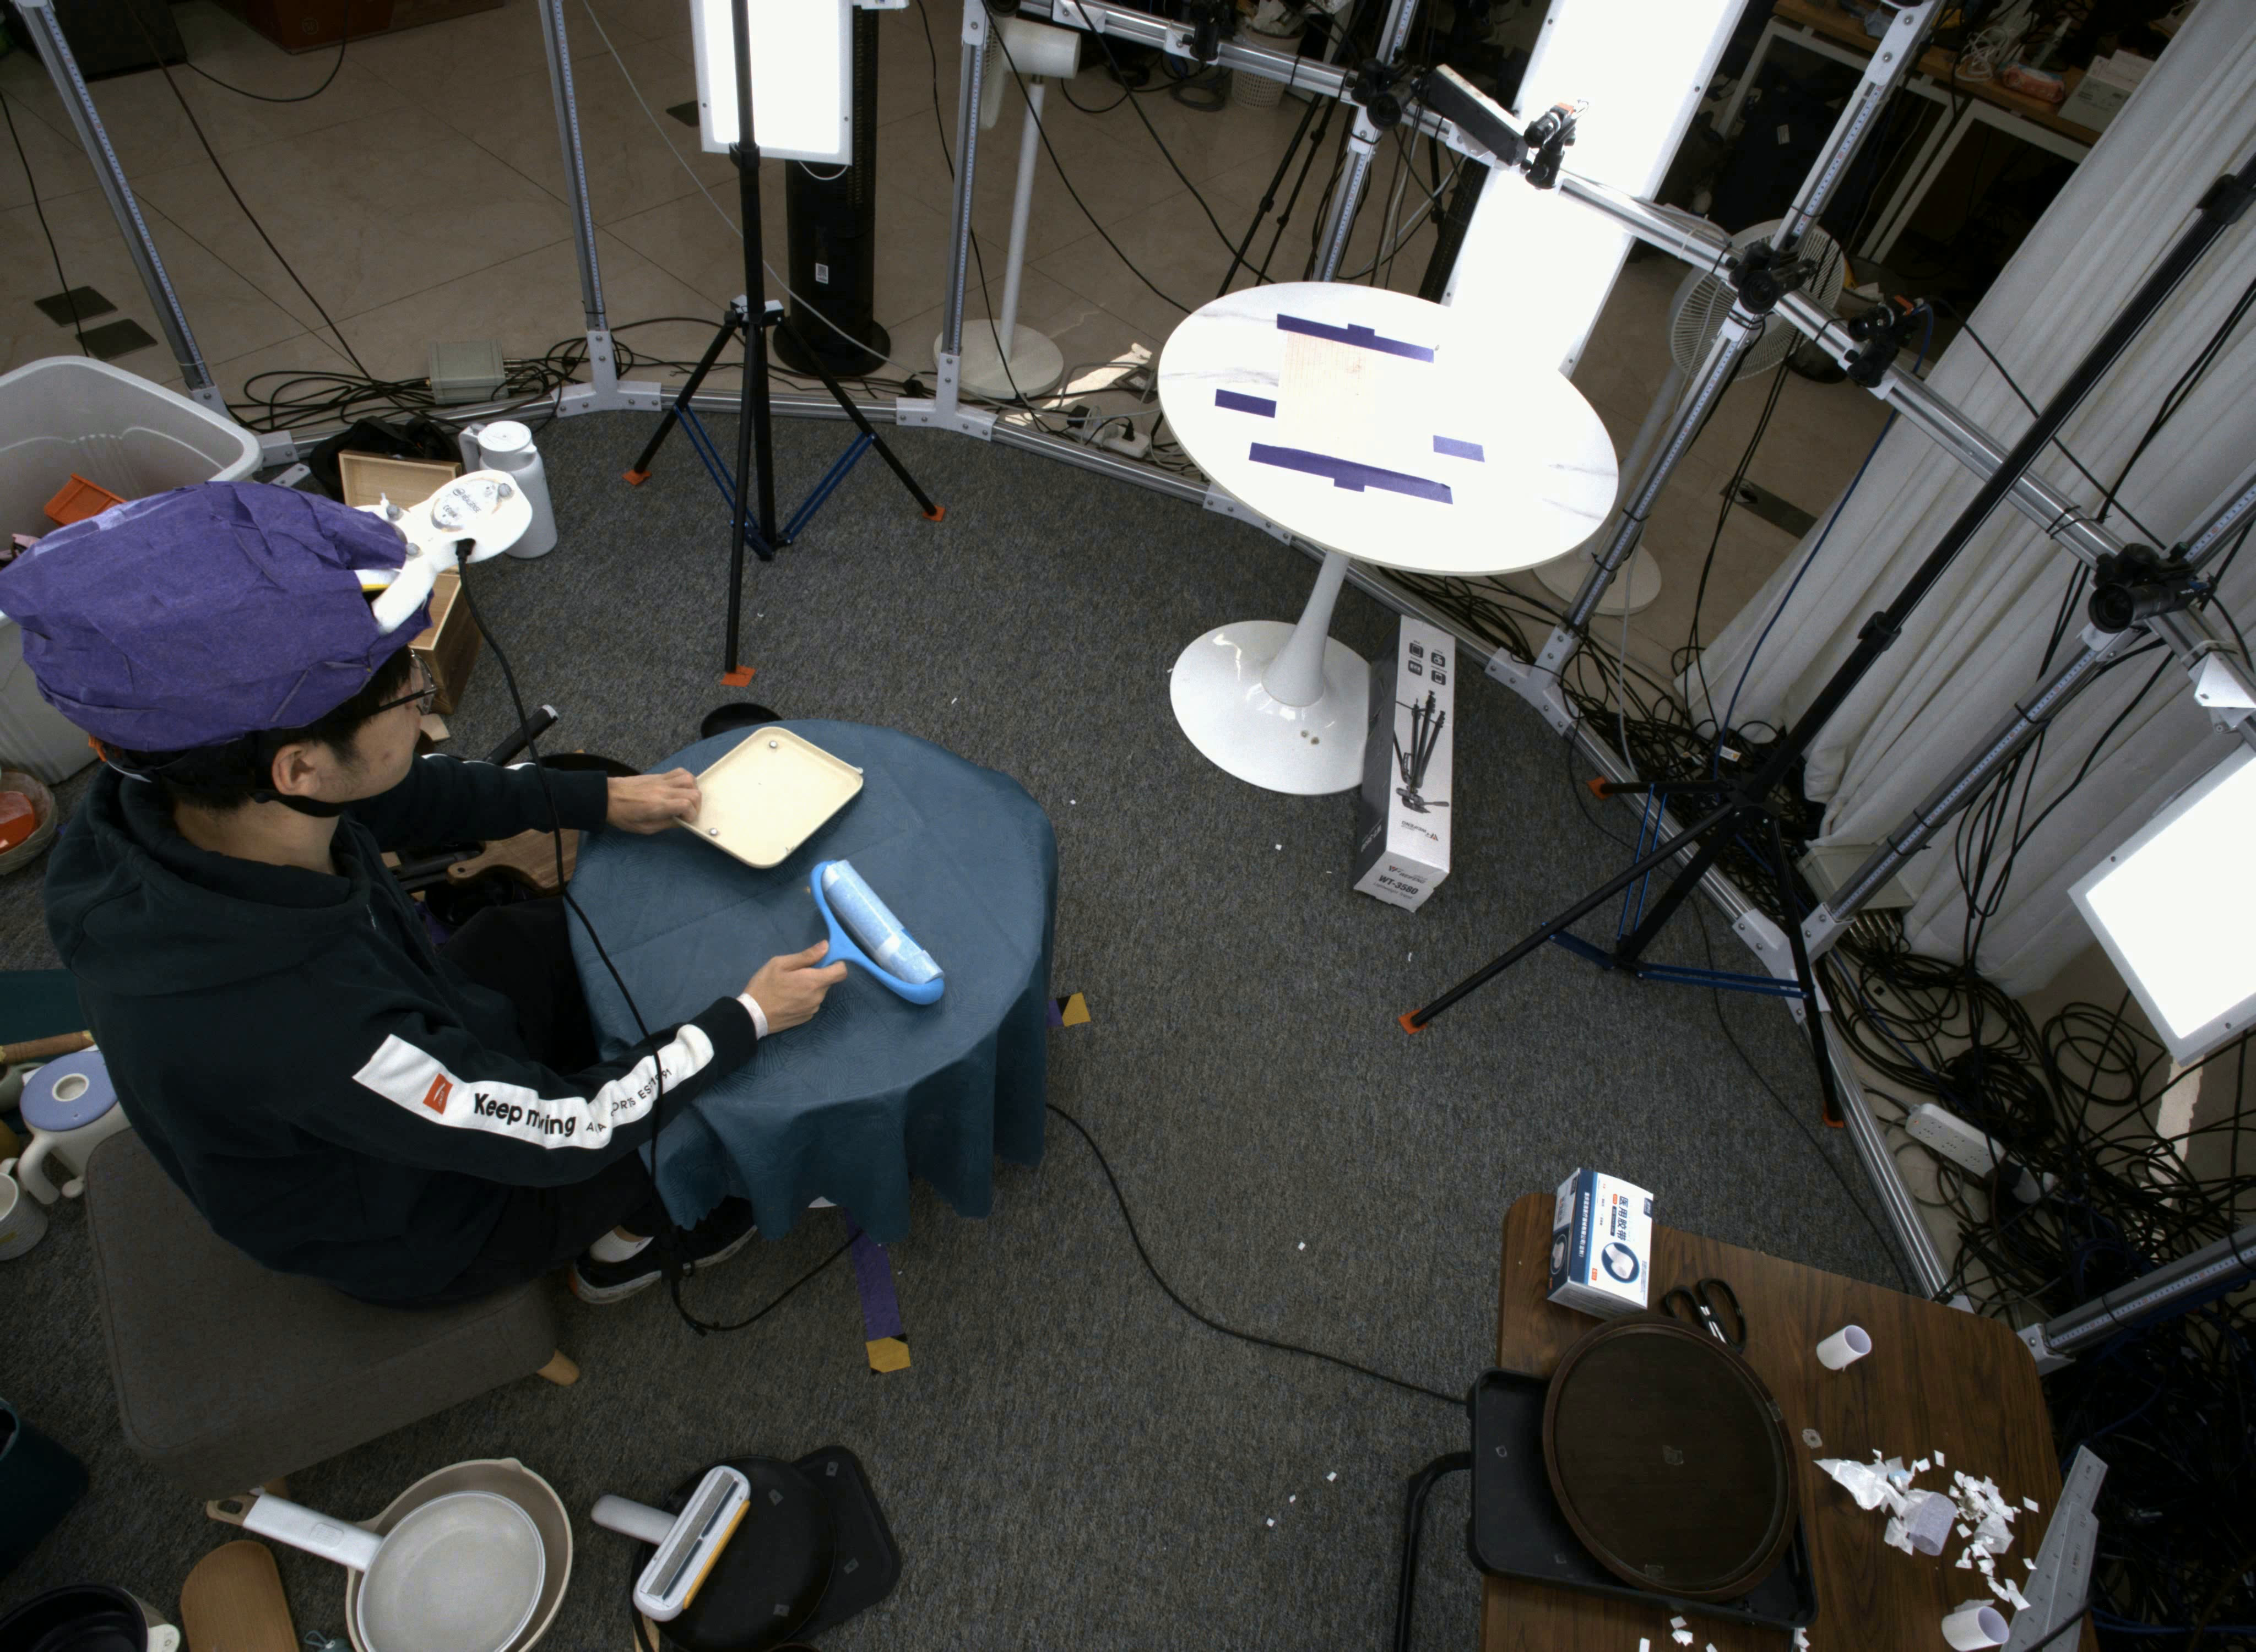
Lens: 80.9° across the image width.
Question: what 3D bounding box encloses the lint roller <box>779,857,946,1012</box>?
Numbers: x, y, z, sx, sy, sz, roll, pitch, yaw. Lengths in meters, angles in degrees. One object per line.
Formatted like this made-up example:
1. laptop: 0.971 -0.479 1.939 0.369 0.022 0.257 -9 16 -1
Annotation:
1. lint roller: -0.348 0.157 1.583 0.227 0.068 0.180 46 59 6

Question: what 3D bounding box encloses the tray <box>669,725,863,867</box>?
1. tray: -0.474 -0.042 1.706 0.169 0.018 0.238 30 40 6
